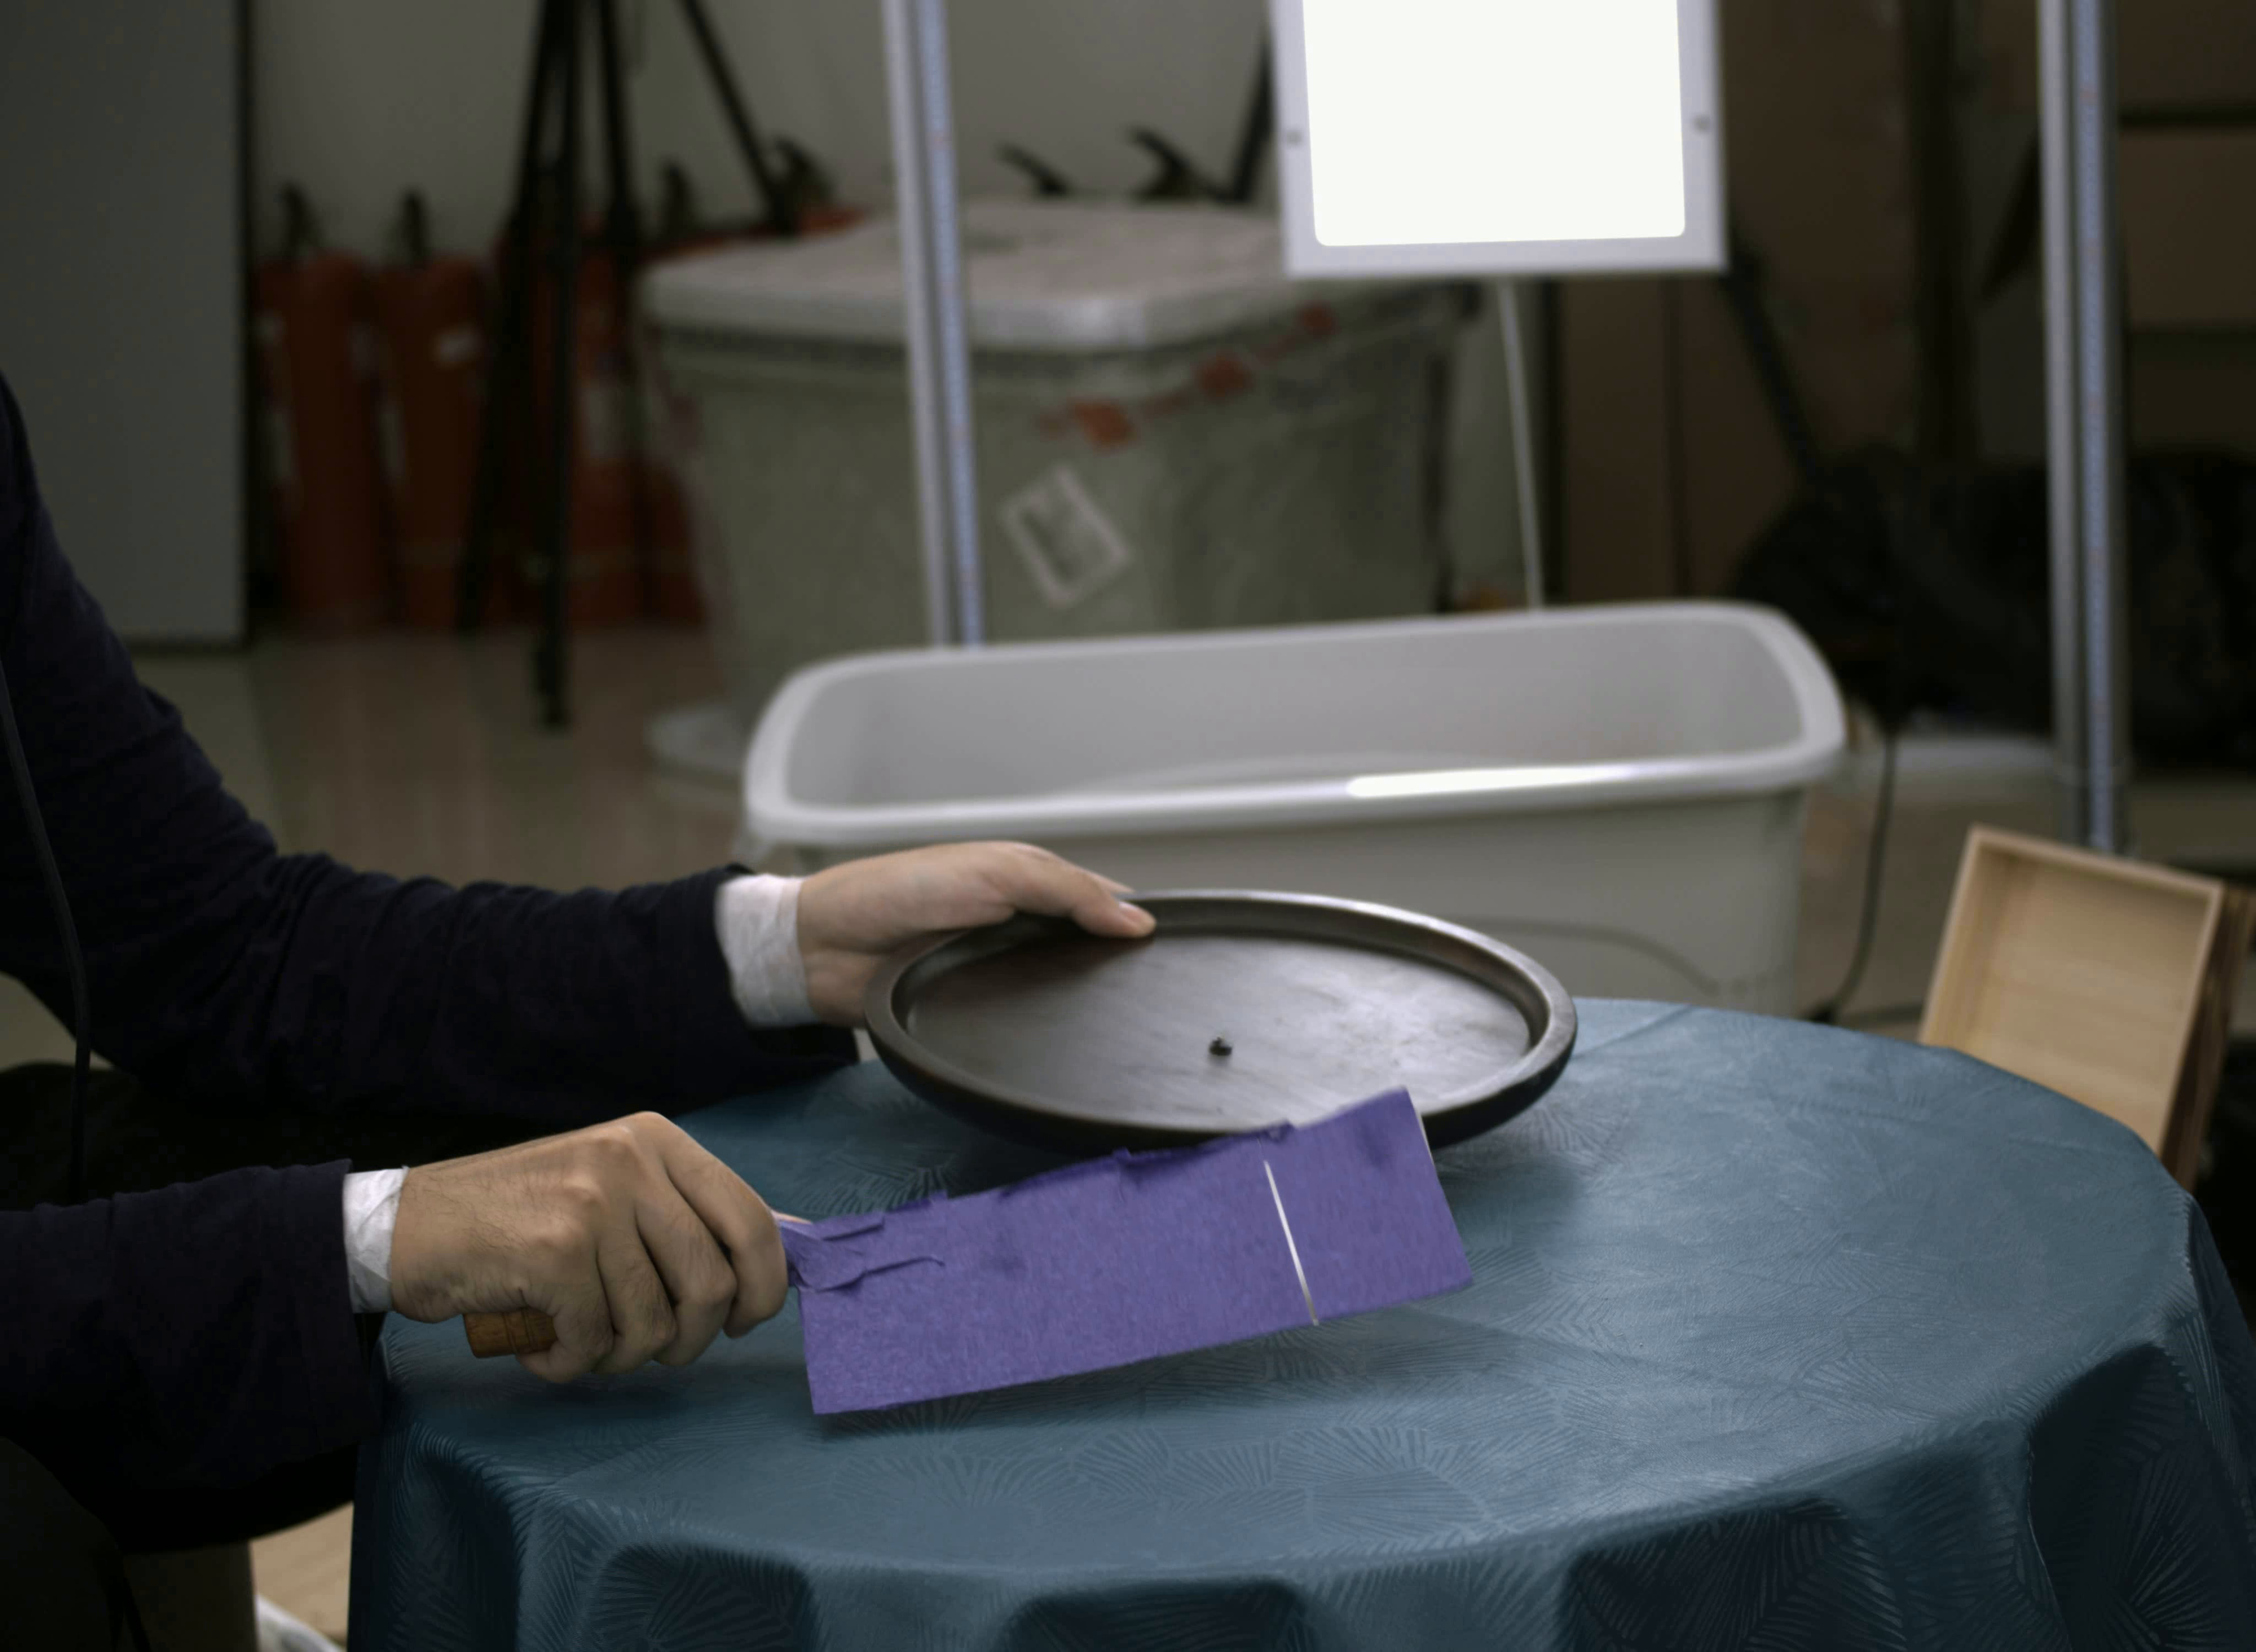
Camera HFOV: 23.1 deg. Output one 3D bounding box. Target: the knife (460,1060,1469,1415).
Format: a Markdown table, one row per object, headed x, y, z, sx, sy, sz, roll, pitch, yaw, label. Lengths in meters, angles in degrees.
| x | y | z | sx | sy | sz | roll | pitch | yaw | label |
| --- | --- | --- | --- | --- | --- | --- | --- | --- | --- |
| -0.052 | 0.139 | 1.720 | 0.315 | 0.032 | 0.104 | -14 | 37 | 2 | knife |

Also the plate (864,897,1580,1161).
| x | y | z | sx | sy | sz | roll | pitch | yaw | label |
| --- | --- | --- | --- | --- | --- | --- | --- | --- | --- |
| 0.033 | 0.070 | 1.939 | 0.254 | 0.029 | 0.254 | 1 | 17 | -2 | plate |
